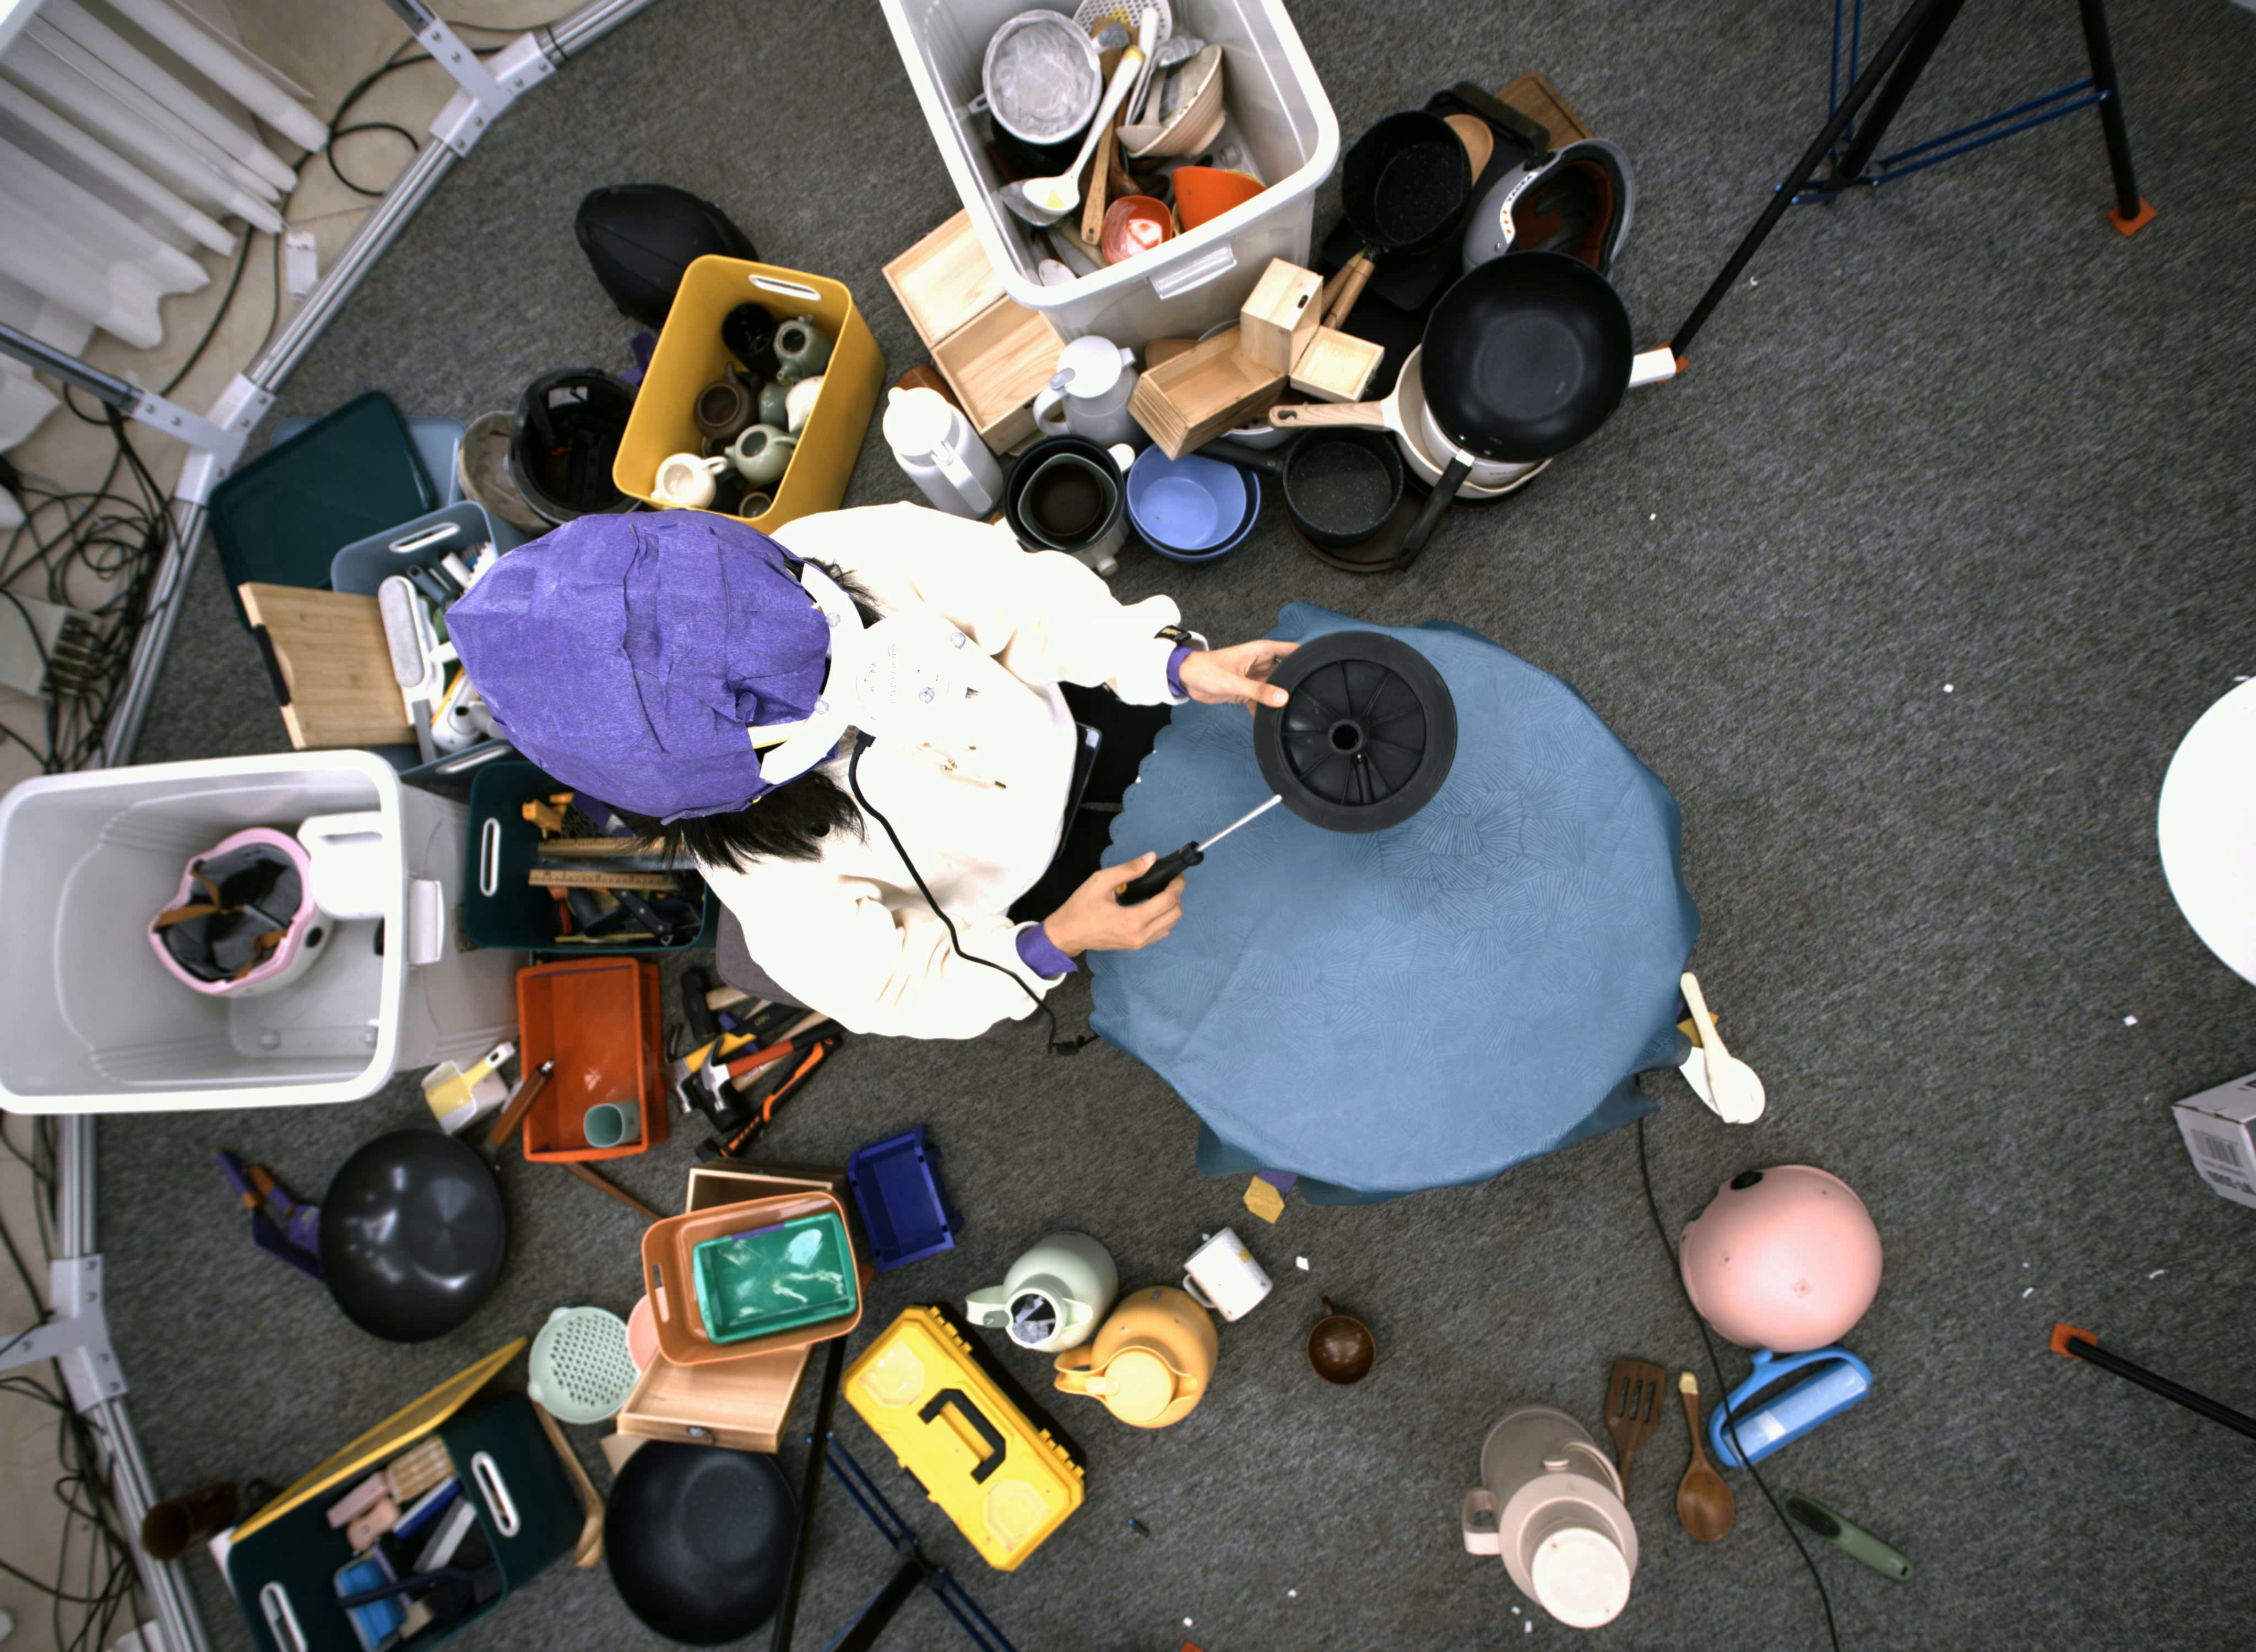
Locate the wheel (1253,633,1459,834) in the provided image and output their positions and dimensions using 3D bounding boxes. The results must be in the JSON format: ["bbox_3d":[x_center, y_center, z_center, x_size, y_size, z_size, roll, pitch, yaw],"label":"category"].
[{"bbox_3d":[0.205,-0.082,1.256,0.190,0.078,0.190,-34,92,19],"label":"wheel"}]

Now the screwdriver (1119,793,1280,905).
[{"bbox_3d":[0.062,0.018,1.271,0.200,0.031,0.031,-38,78,35],"label":"screwdriver"}]
